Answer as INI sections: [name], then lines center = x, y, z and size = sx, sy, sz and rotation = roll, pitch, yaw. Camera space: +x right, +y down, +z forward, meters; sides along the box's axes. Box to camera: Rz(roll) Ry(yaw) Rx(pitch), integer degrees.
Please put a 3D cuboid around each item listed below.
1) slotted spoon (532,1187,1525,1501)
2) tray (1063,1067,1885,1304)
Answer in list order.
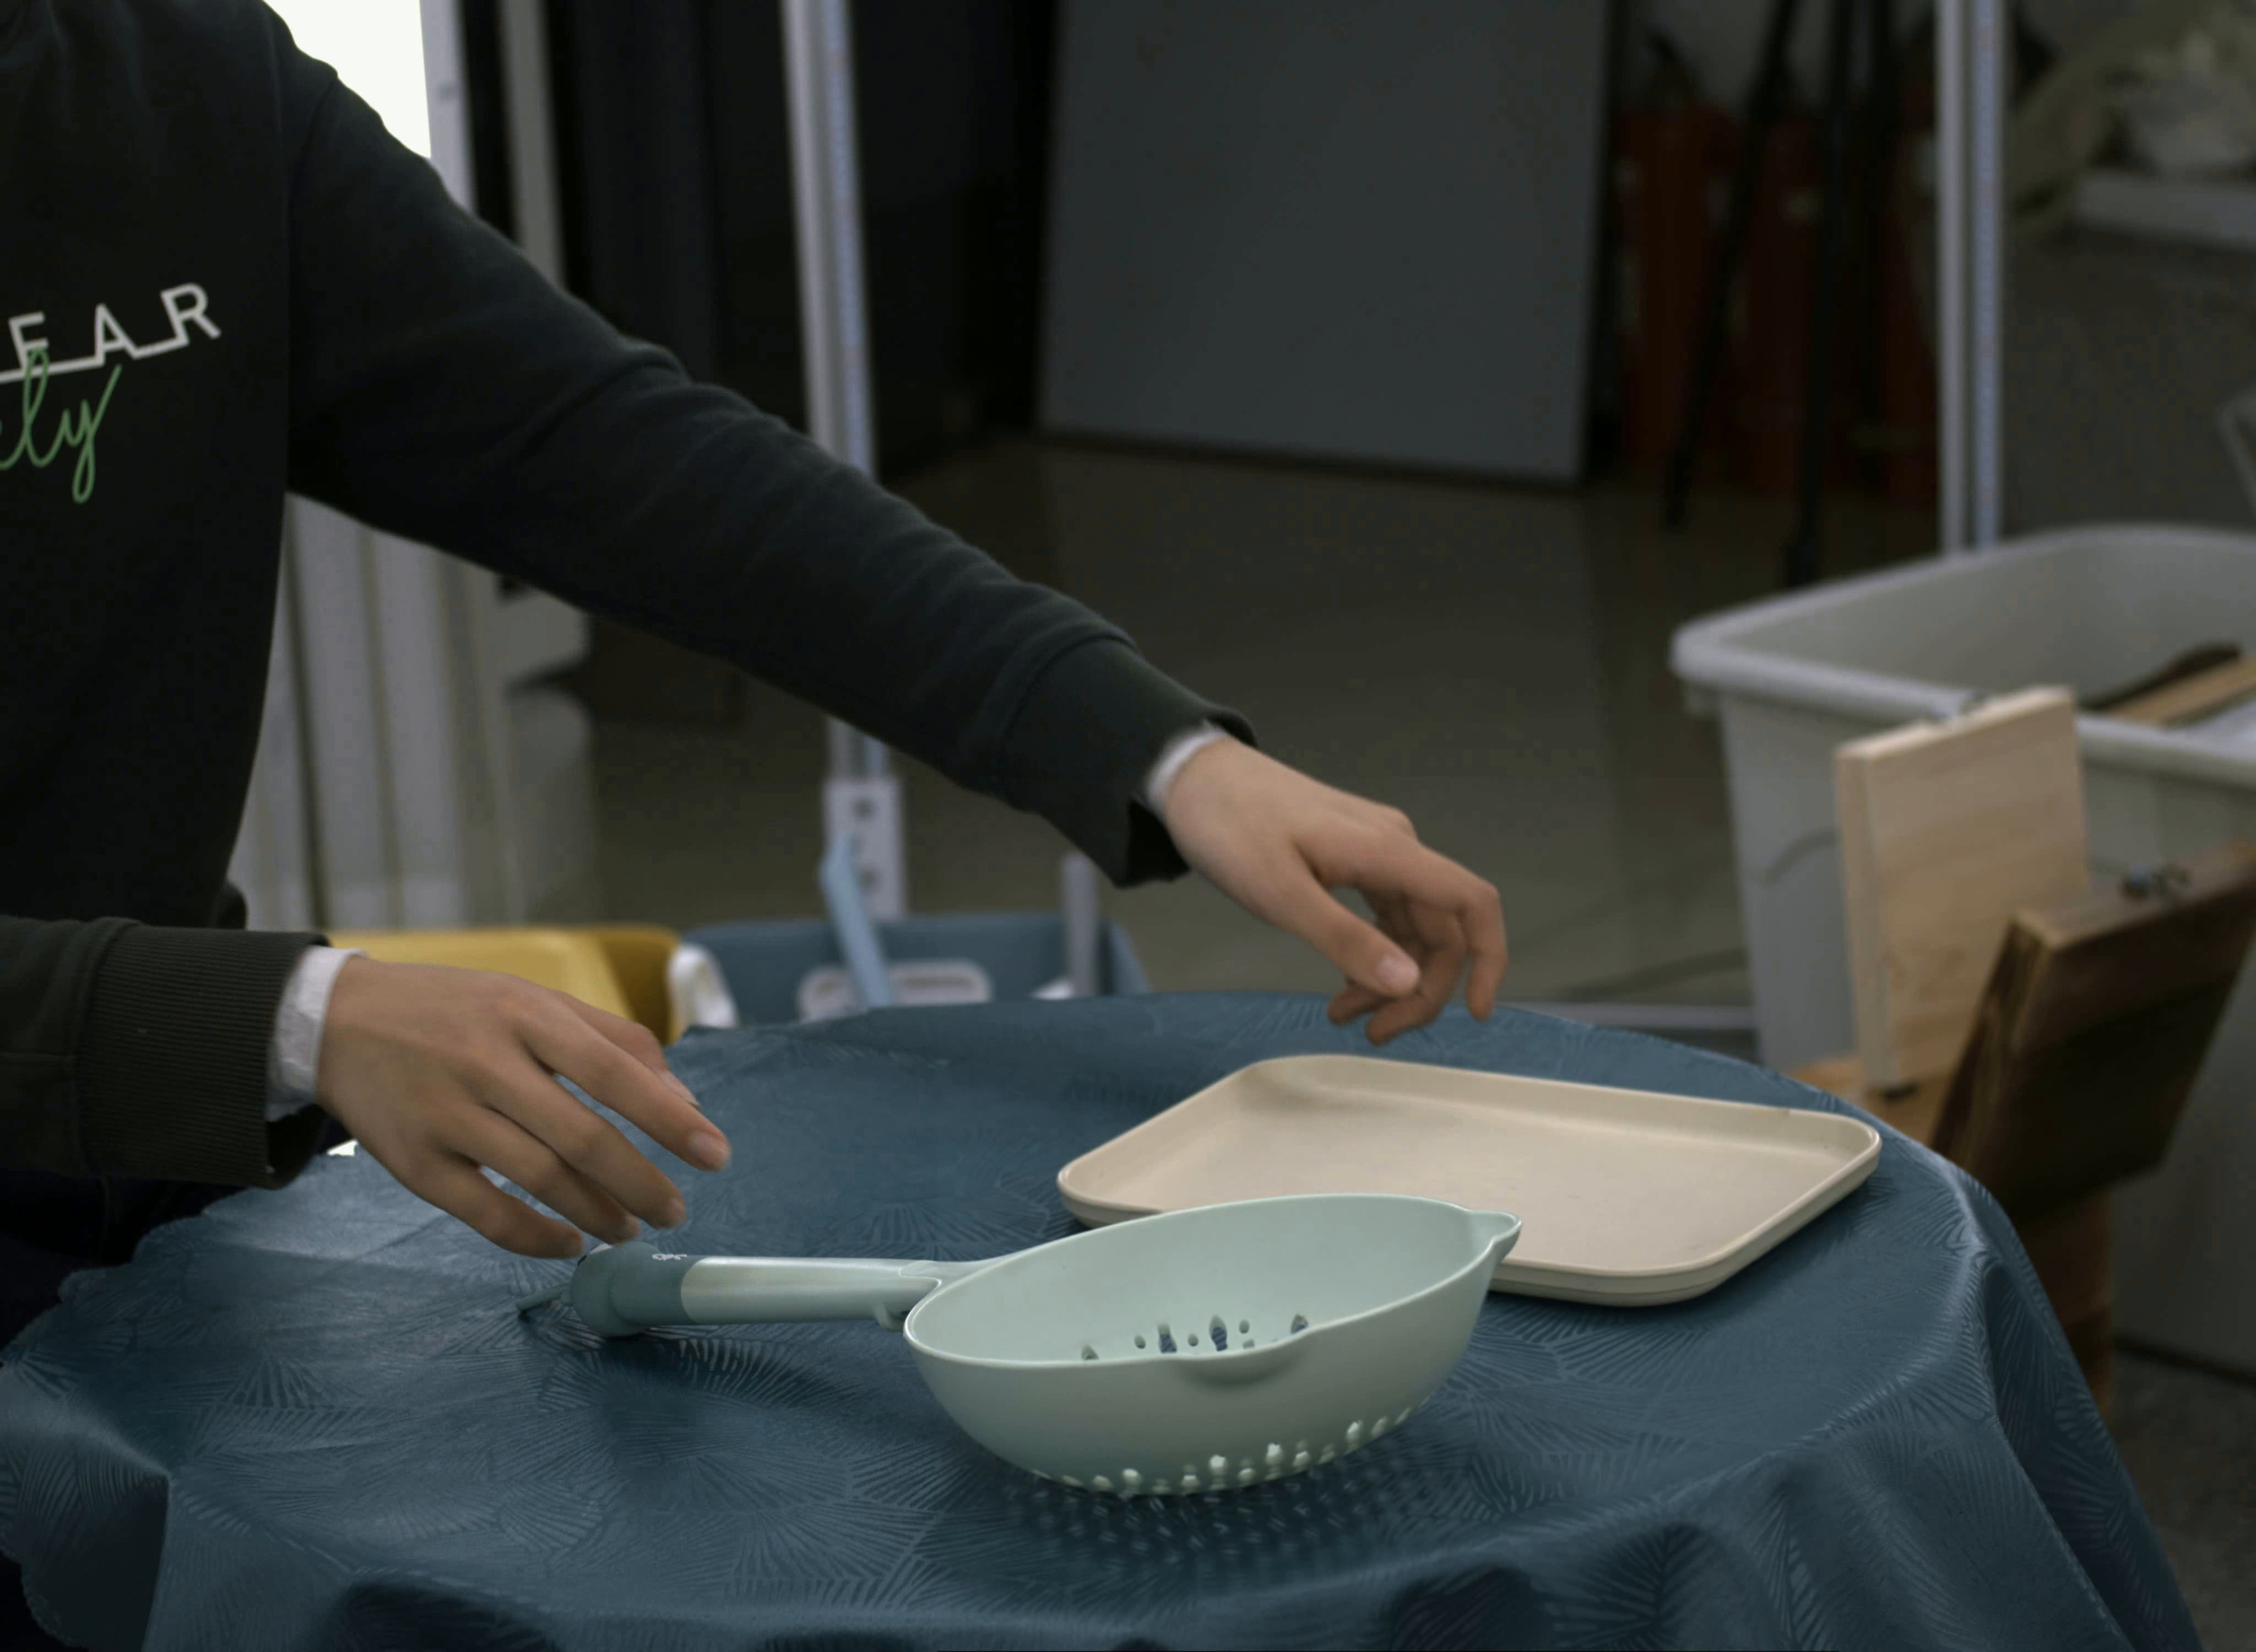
[slotted spoon]
center = -0.050, 0.141, 1.572
size = 0.362, 0.076, 0.166
rotation = 7, 17, 40
[tray]
center = 0.111, 0.115, 1.730
size = 0.241, 0.017, 0.168
rotation = 4, 16, 32
